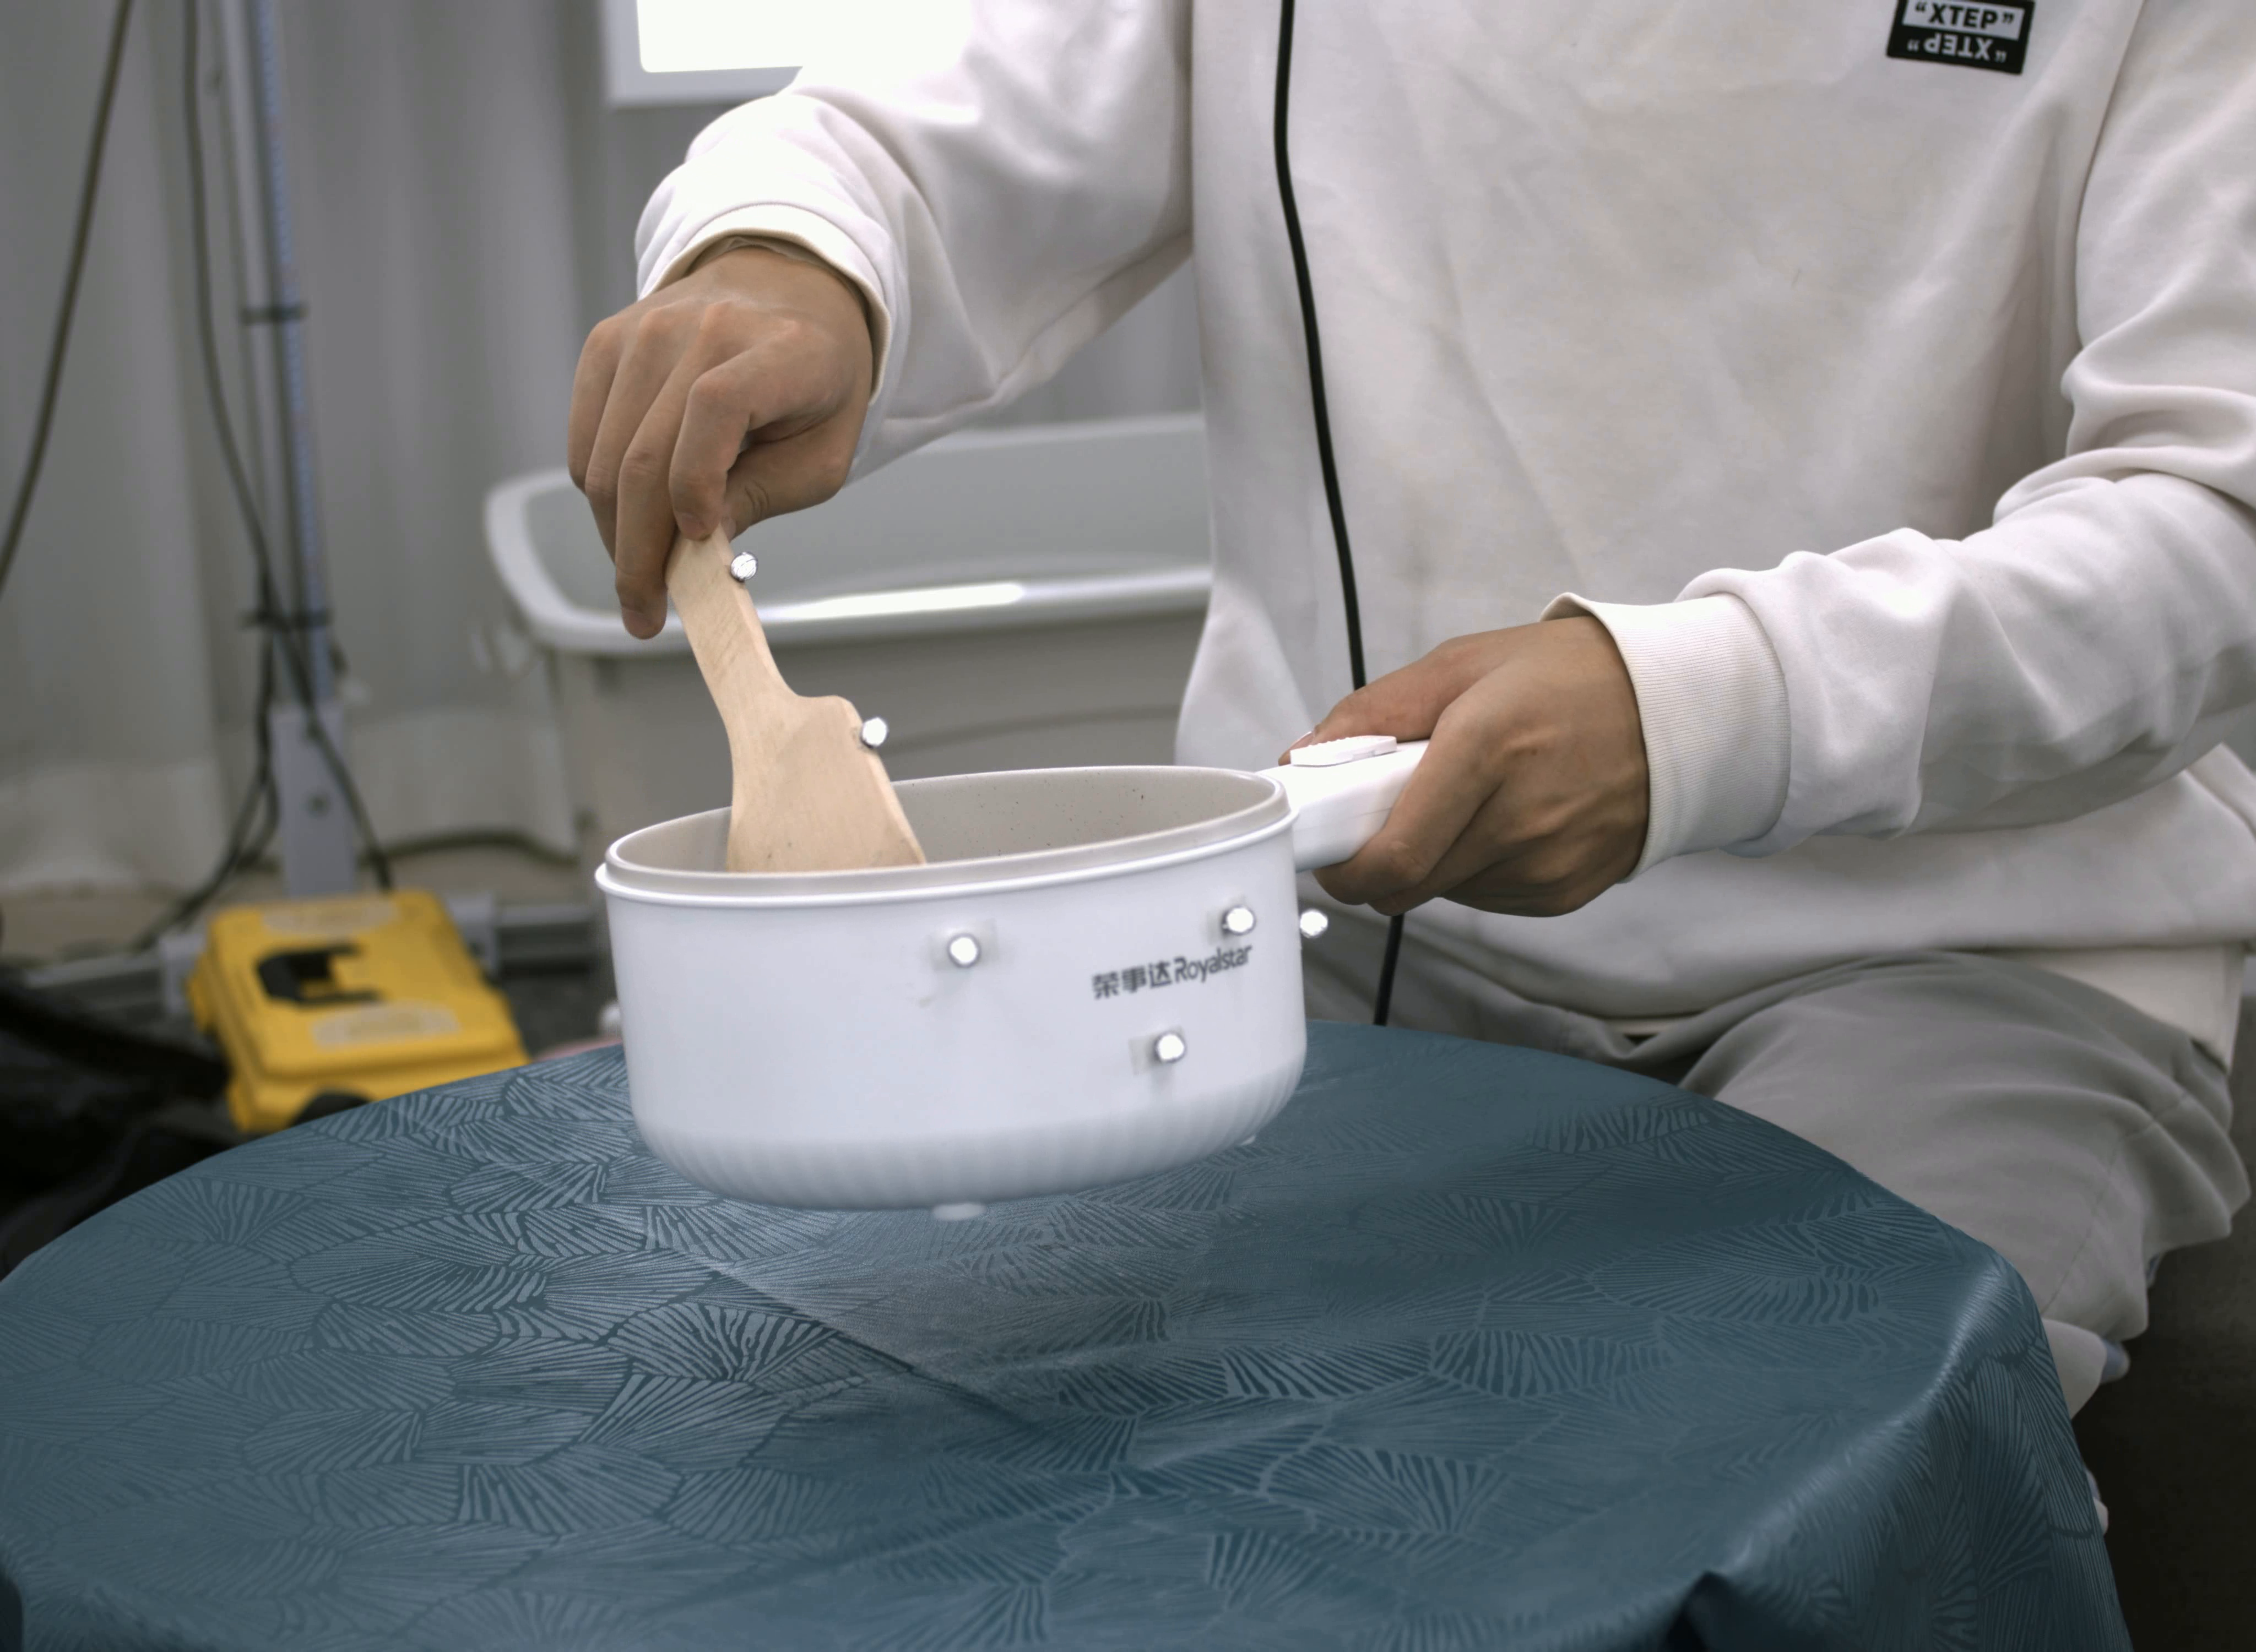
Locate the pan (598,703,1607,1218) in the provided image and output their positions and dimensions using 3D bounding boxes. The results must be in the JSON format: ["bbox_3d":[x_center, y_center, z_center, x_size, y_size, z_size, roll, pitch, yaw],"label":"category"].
[{"bbox_3d":[0.009,0.035,1.614,0.353,0.102,0.202,-12,9,-42],"label":"pan"}]

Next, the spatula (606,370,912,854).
[{"bbox_3d":[-0.119,-0.052,1.646,0.010,0.072,0.297,17,29,-31],"label":"spatula"}]
